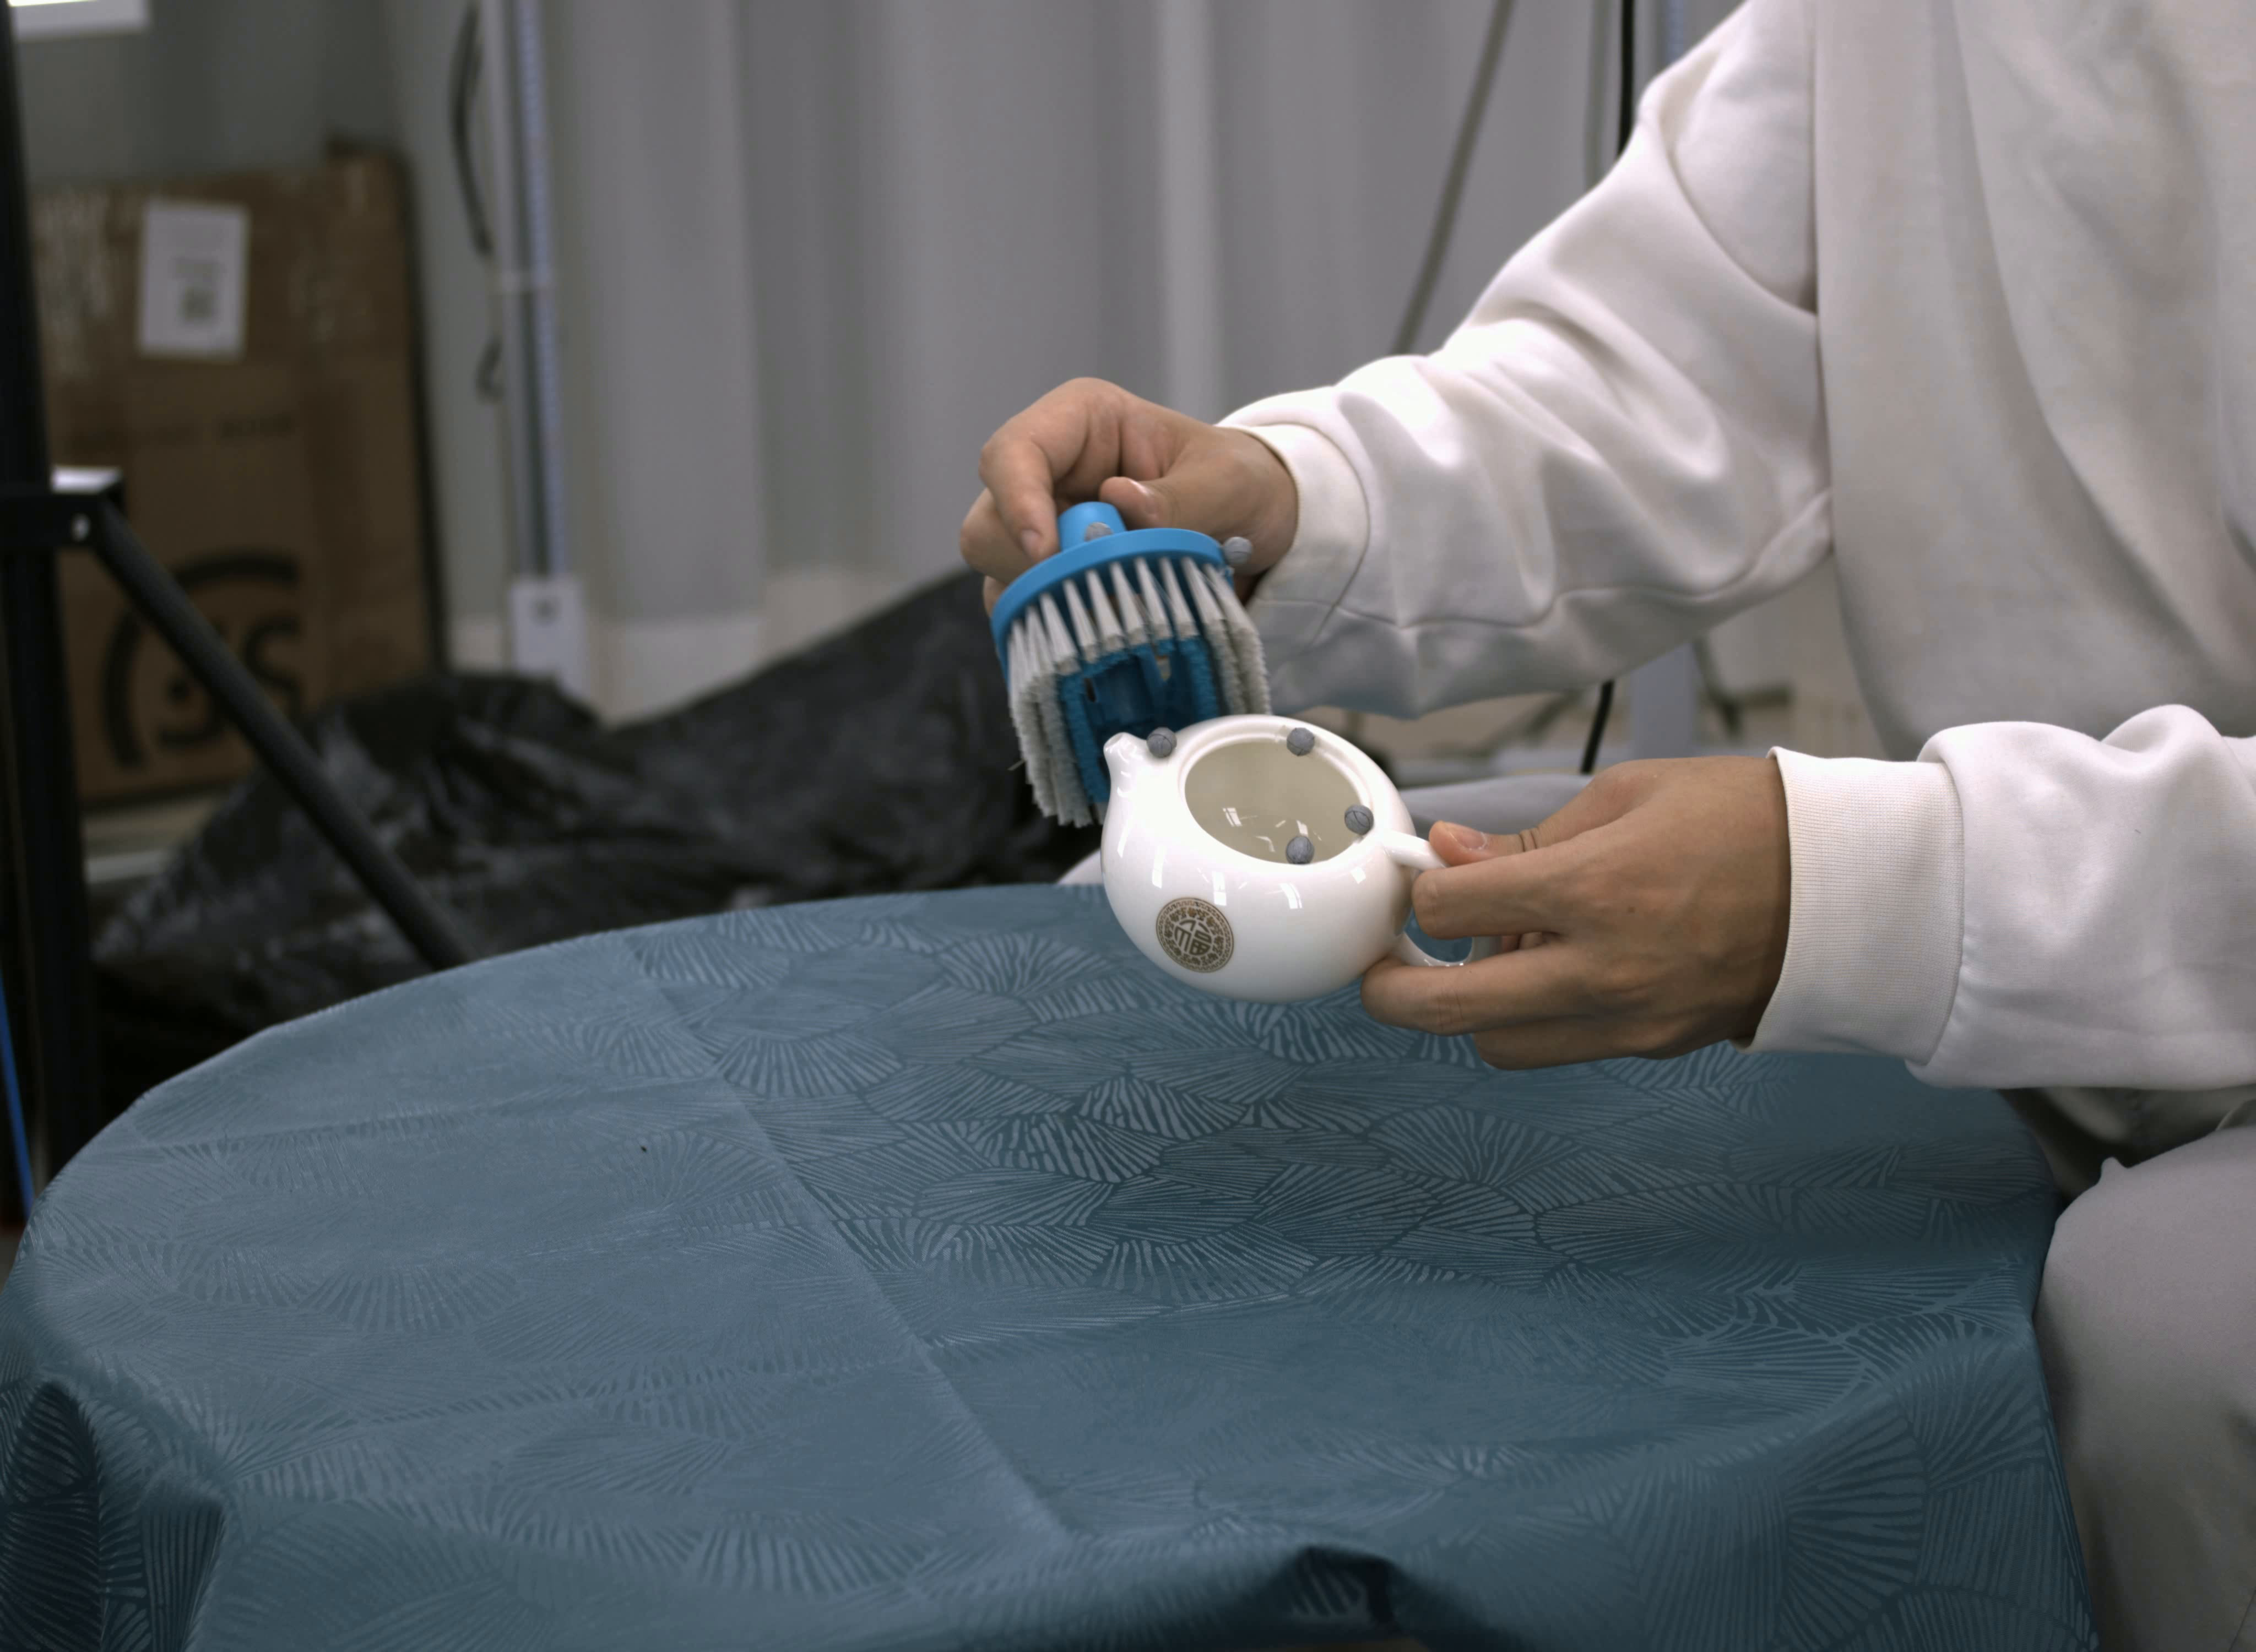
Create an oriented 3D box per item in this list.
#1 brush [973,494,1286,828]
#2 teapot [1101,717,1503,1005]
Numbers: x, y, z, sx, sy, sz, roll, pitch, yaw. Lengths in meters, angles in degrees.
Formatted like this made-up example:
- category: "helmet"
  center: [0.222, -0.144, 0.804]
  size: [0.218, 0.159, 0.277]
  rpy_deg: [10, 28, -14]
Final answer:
- category: "brush"
  center: [-0.004, -0.057, 1.593]
  size: [0.084, 0.065, 0.140]
  rpy_deg: [-21, -25, -1]
- category: "teapot"
  center: [0.049, 0.014, 1.533]
  size: [0.127, 0.056, 0.093]
  rpy_deg: [17, 38, 6]
